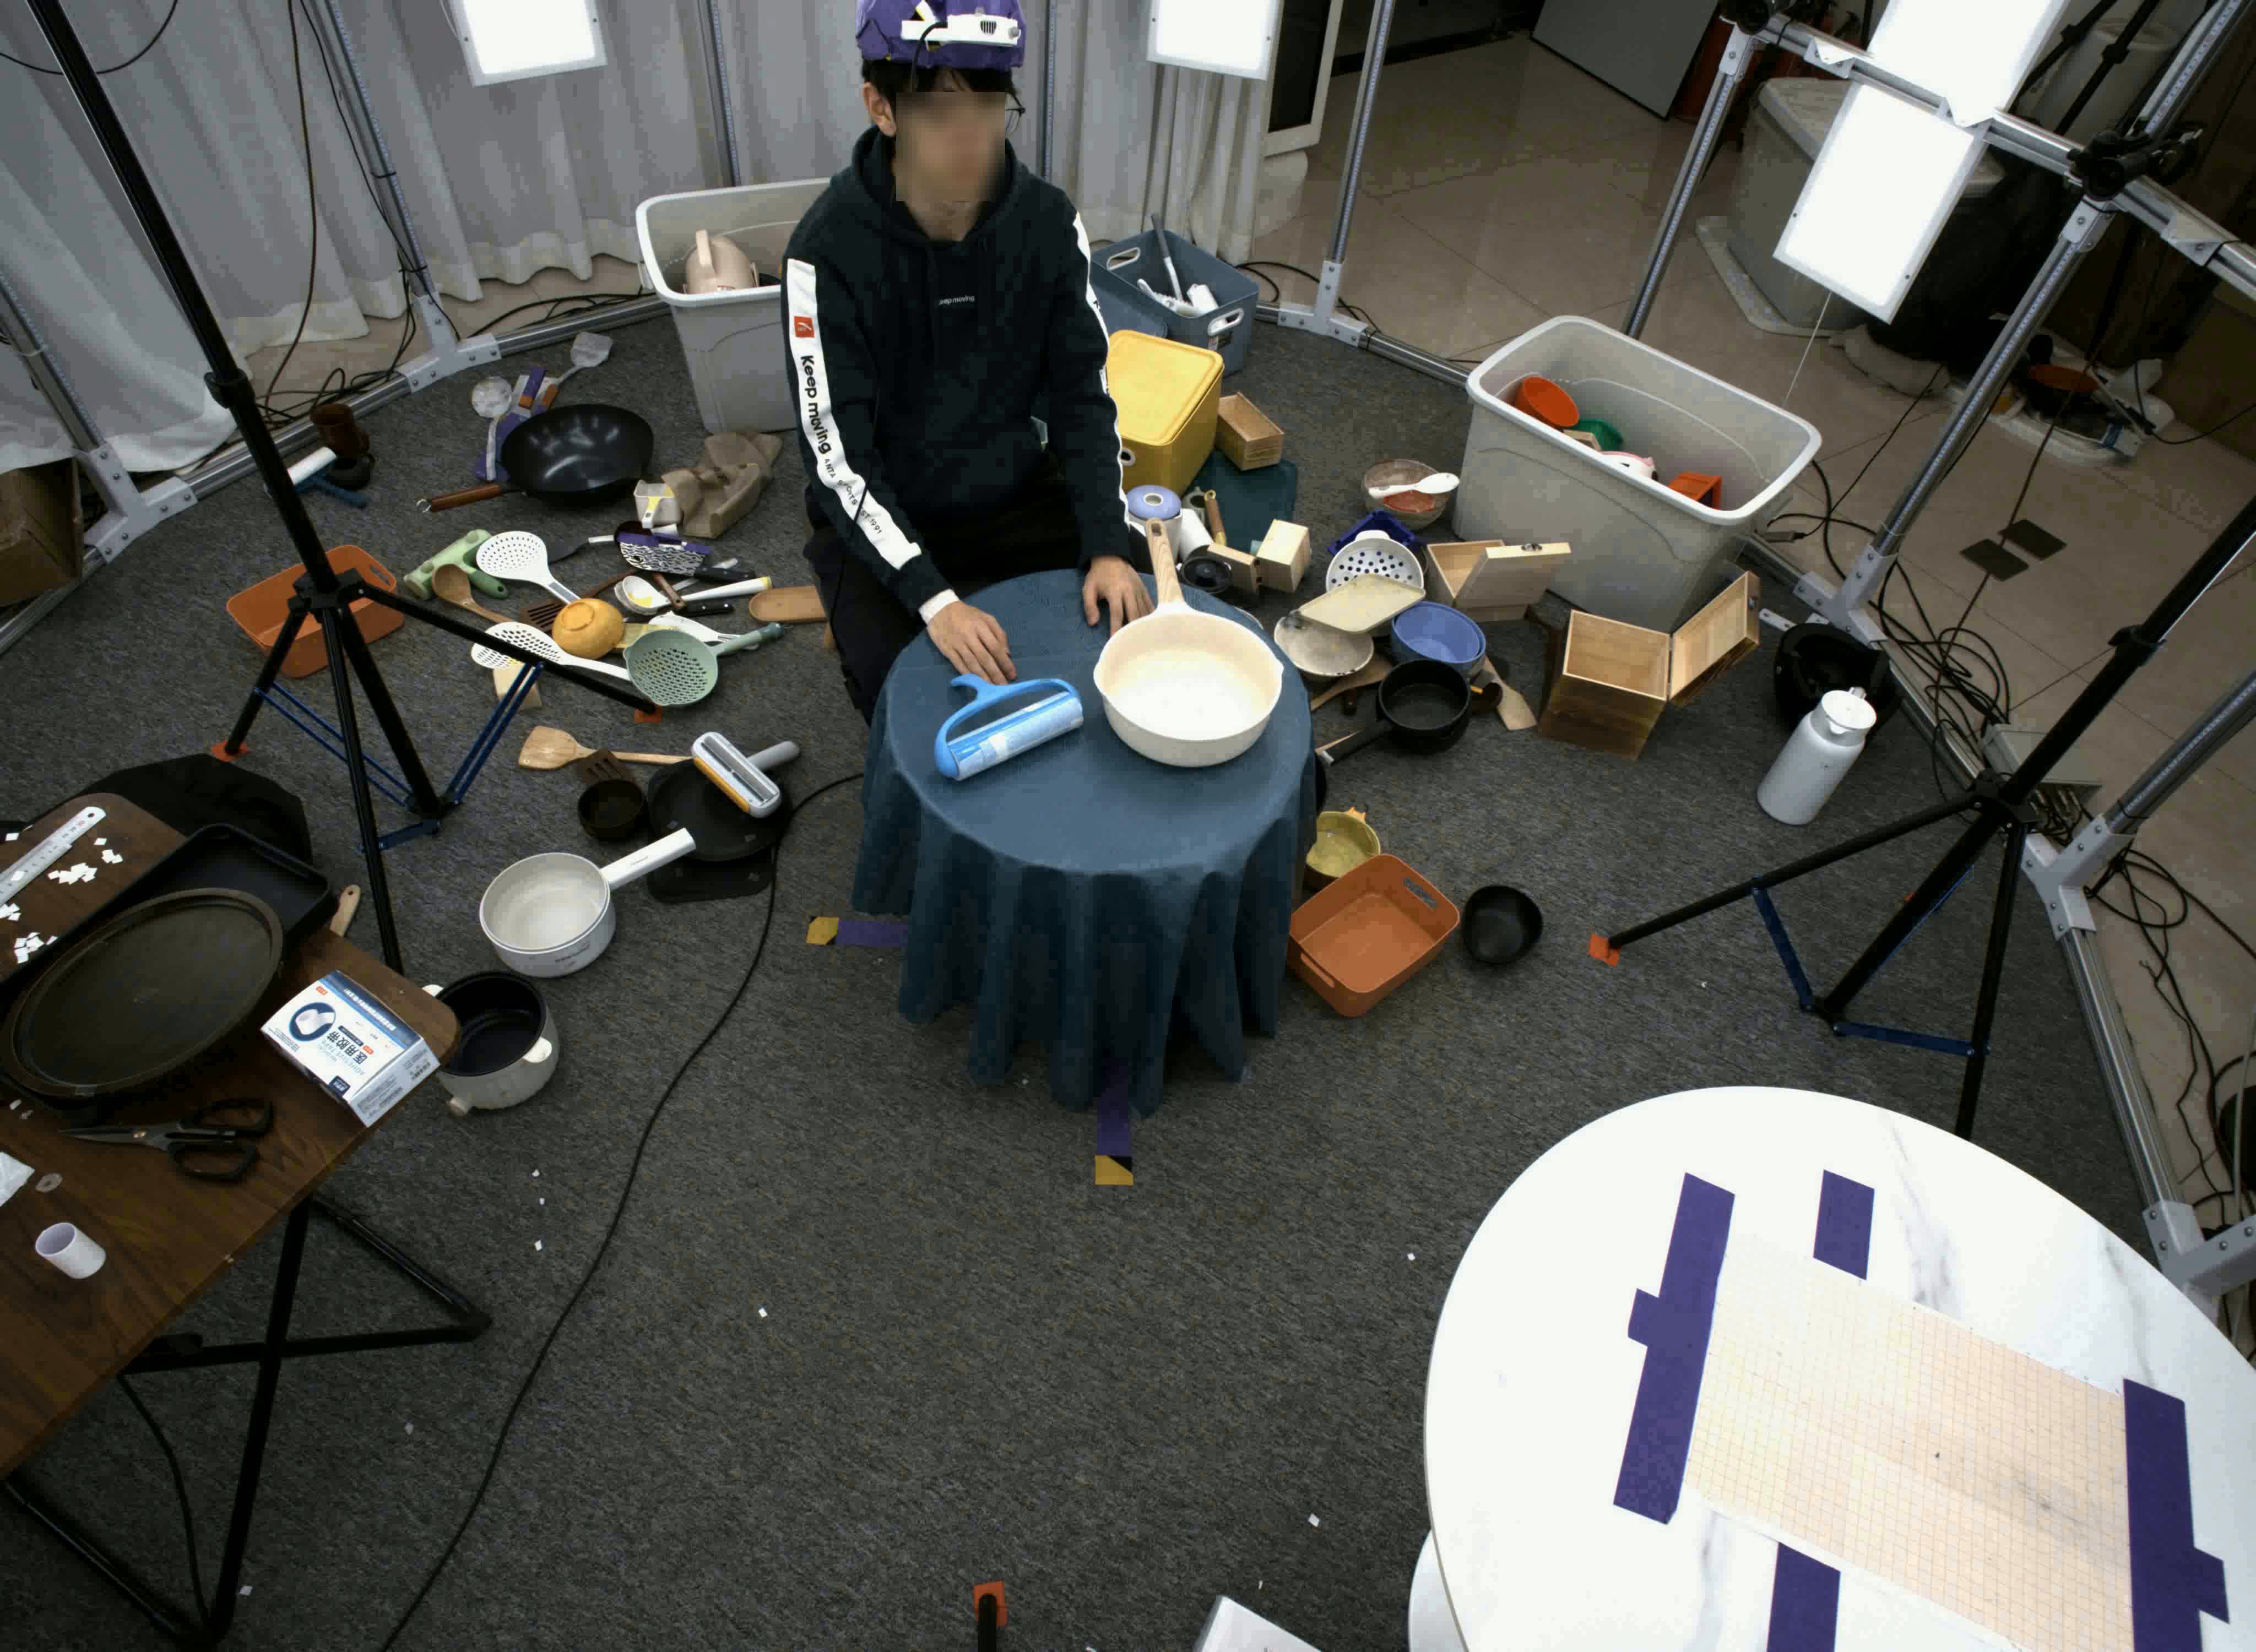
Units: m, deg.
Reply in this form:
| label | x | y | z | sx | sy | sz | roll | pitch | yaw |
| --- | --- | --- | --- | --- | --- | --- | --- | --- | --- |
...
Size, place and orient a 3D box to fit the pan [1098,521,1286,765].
| label | x | y | z | sx | sy | sz | roll | pitch | yaw |
| --- | --- | --- | --- | --- | --- | --- | --- | --- | --- |
| pan | 0.072 | -0.261 | 1.835 | 0.263 | 0.099 | 0.446 | -6 | 50 | -7 |

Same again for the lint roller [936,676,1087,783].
| label | x | y | z | sx | sy | sz | roll | pitch | yaw |
| --- | --- | --- | --- | --- | --- | --- | --- | --- | --- |
| lint roller | -0.189 | -0.161 | 1.758 | 0.230 | 0.066 | 0.183 | -30 | 58 | -25 |
